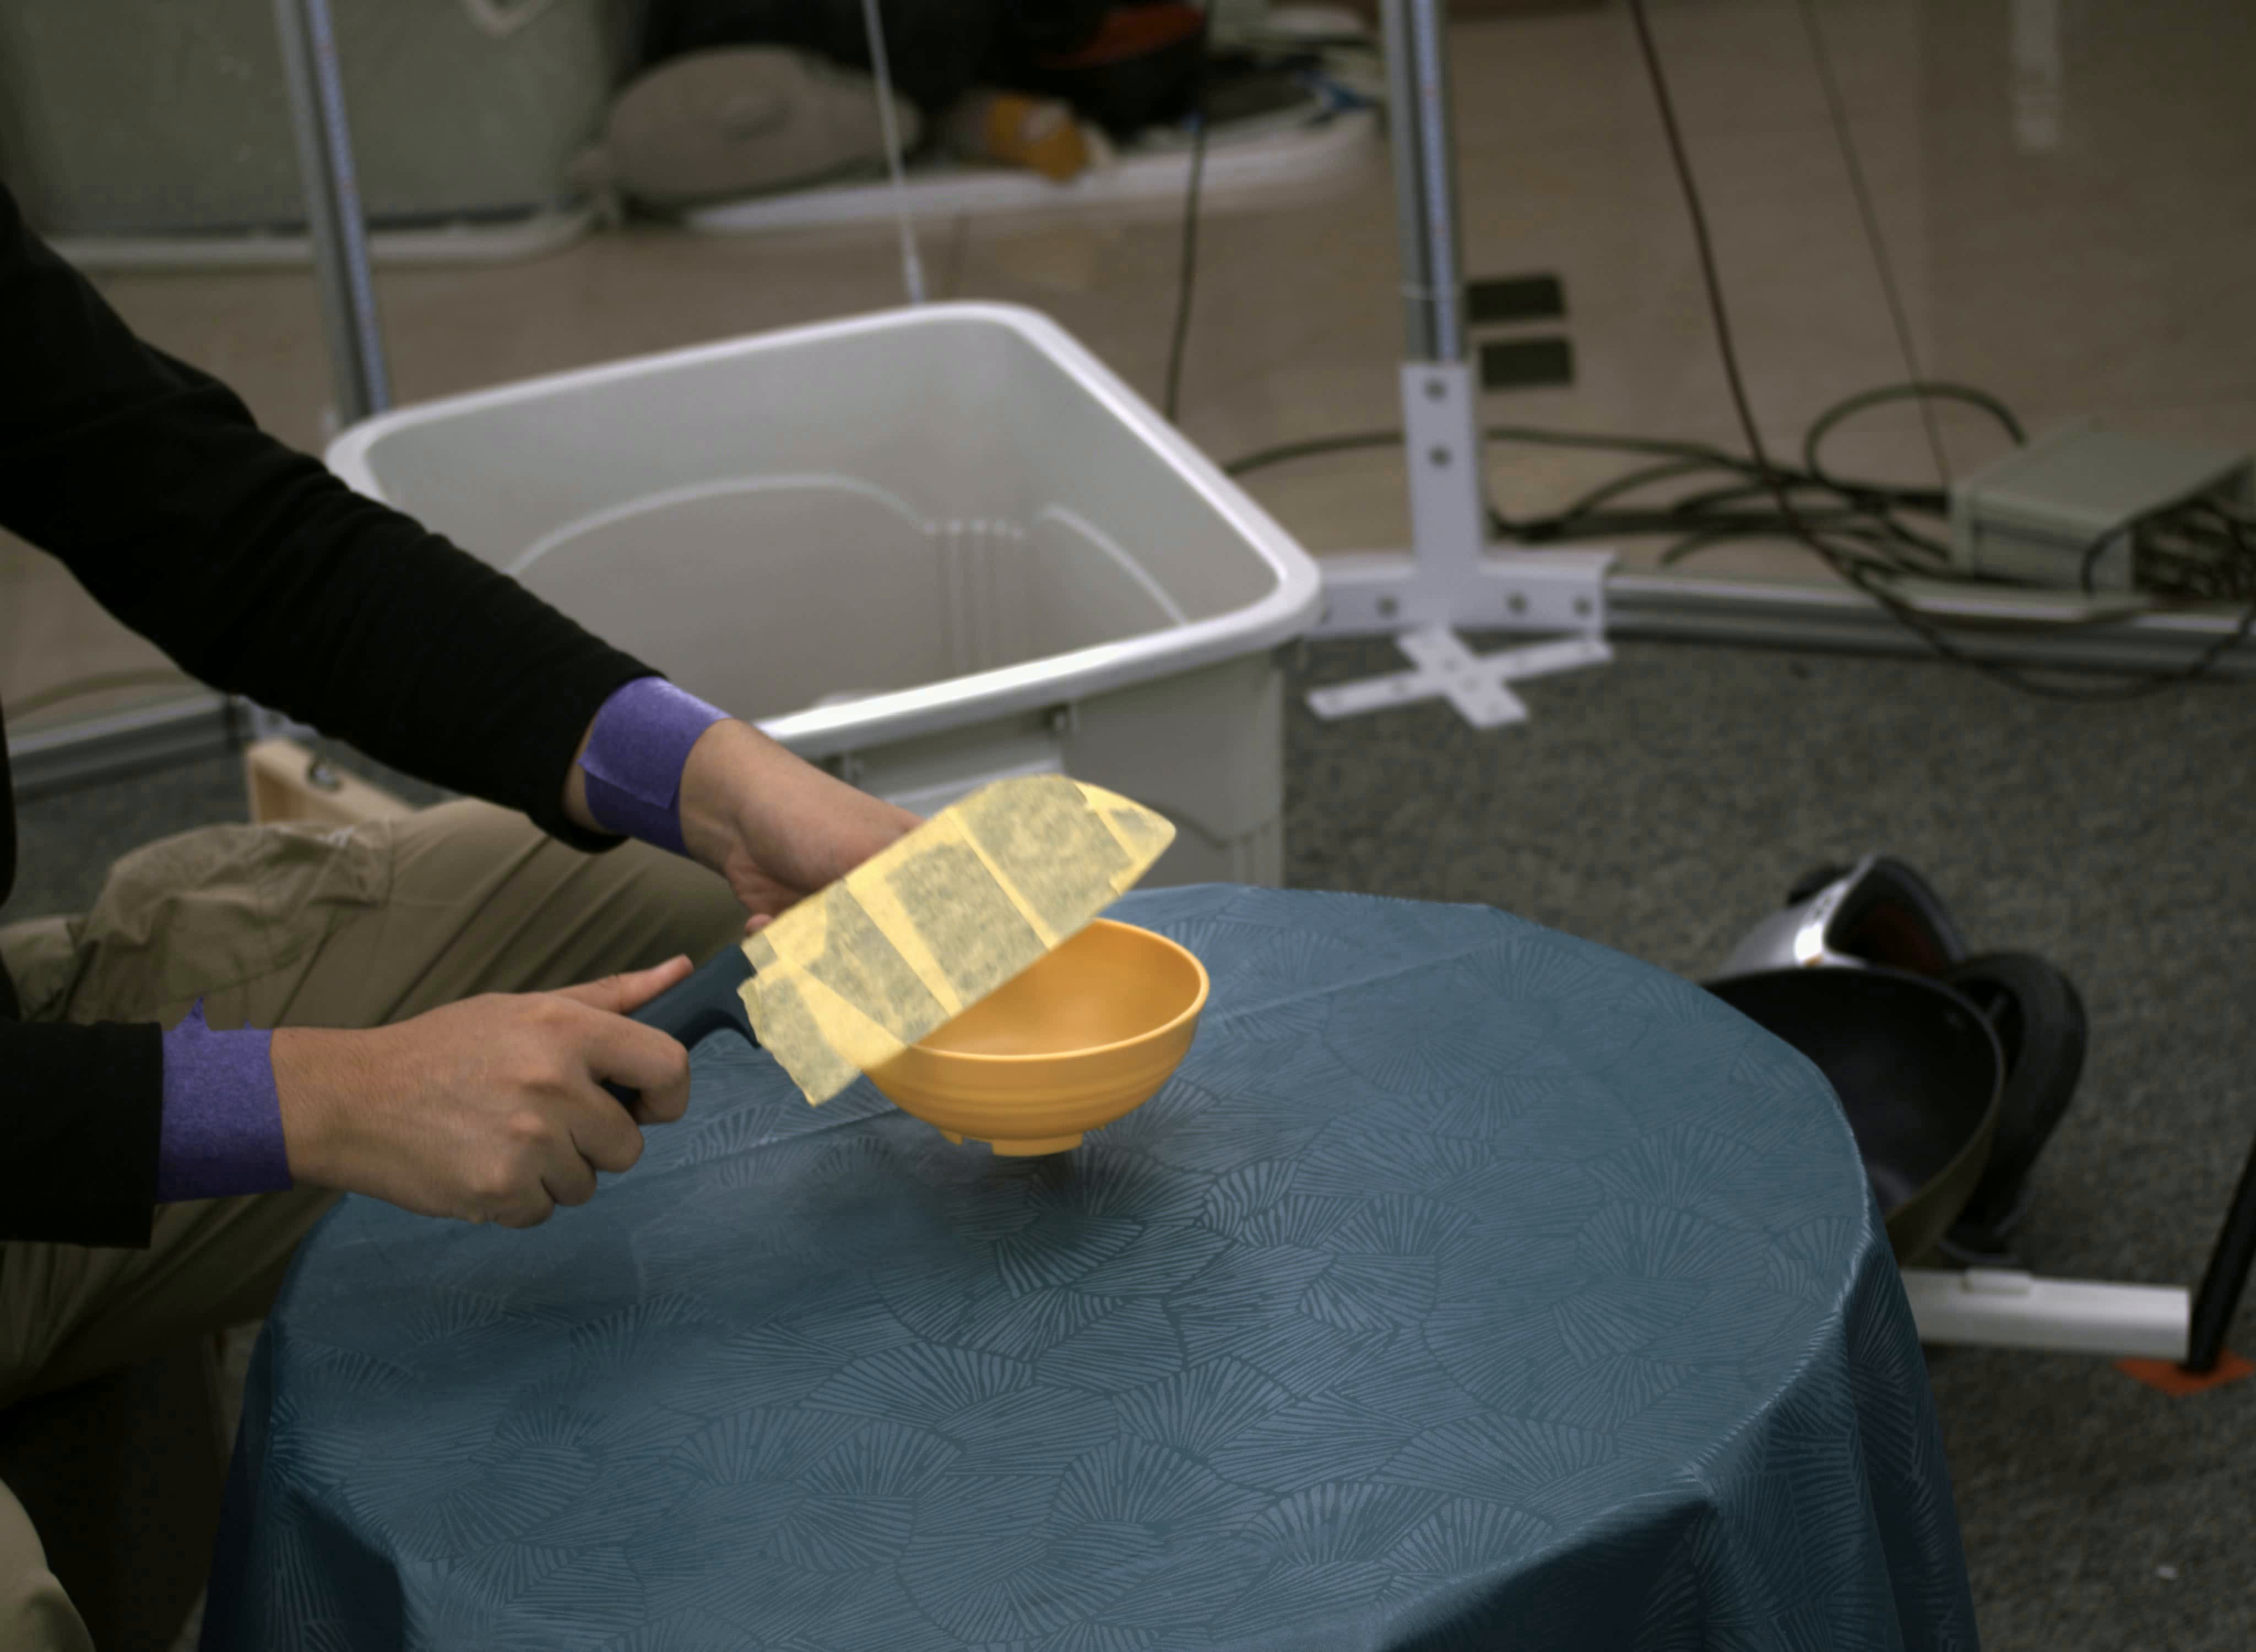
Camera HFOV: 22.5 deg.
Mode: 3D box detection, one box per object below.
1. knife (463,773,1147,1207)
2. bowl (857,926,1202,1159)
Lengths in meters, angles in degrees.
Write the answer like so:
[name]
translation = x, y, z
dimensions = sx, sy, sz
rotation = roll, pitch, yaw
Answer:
[knife]
translation = -0.116, 0.066, 2.107
dimensions = 0.289, 0.027, 0.080
rotation = -31, 64, -6
[bowl]
translation = -0.044, 0.088, 2.169
dimensions = 0.145, 0.061, 0.143
rotation = 0, 20, 0
